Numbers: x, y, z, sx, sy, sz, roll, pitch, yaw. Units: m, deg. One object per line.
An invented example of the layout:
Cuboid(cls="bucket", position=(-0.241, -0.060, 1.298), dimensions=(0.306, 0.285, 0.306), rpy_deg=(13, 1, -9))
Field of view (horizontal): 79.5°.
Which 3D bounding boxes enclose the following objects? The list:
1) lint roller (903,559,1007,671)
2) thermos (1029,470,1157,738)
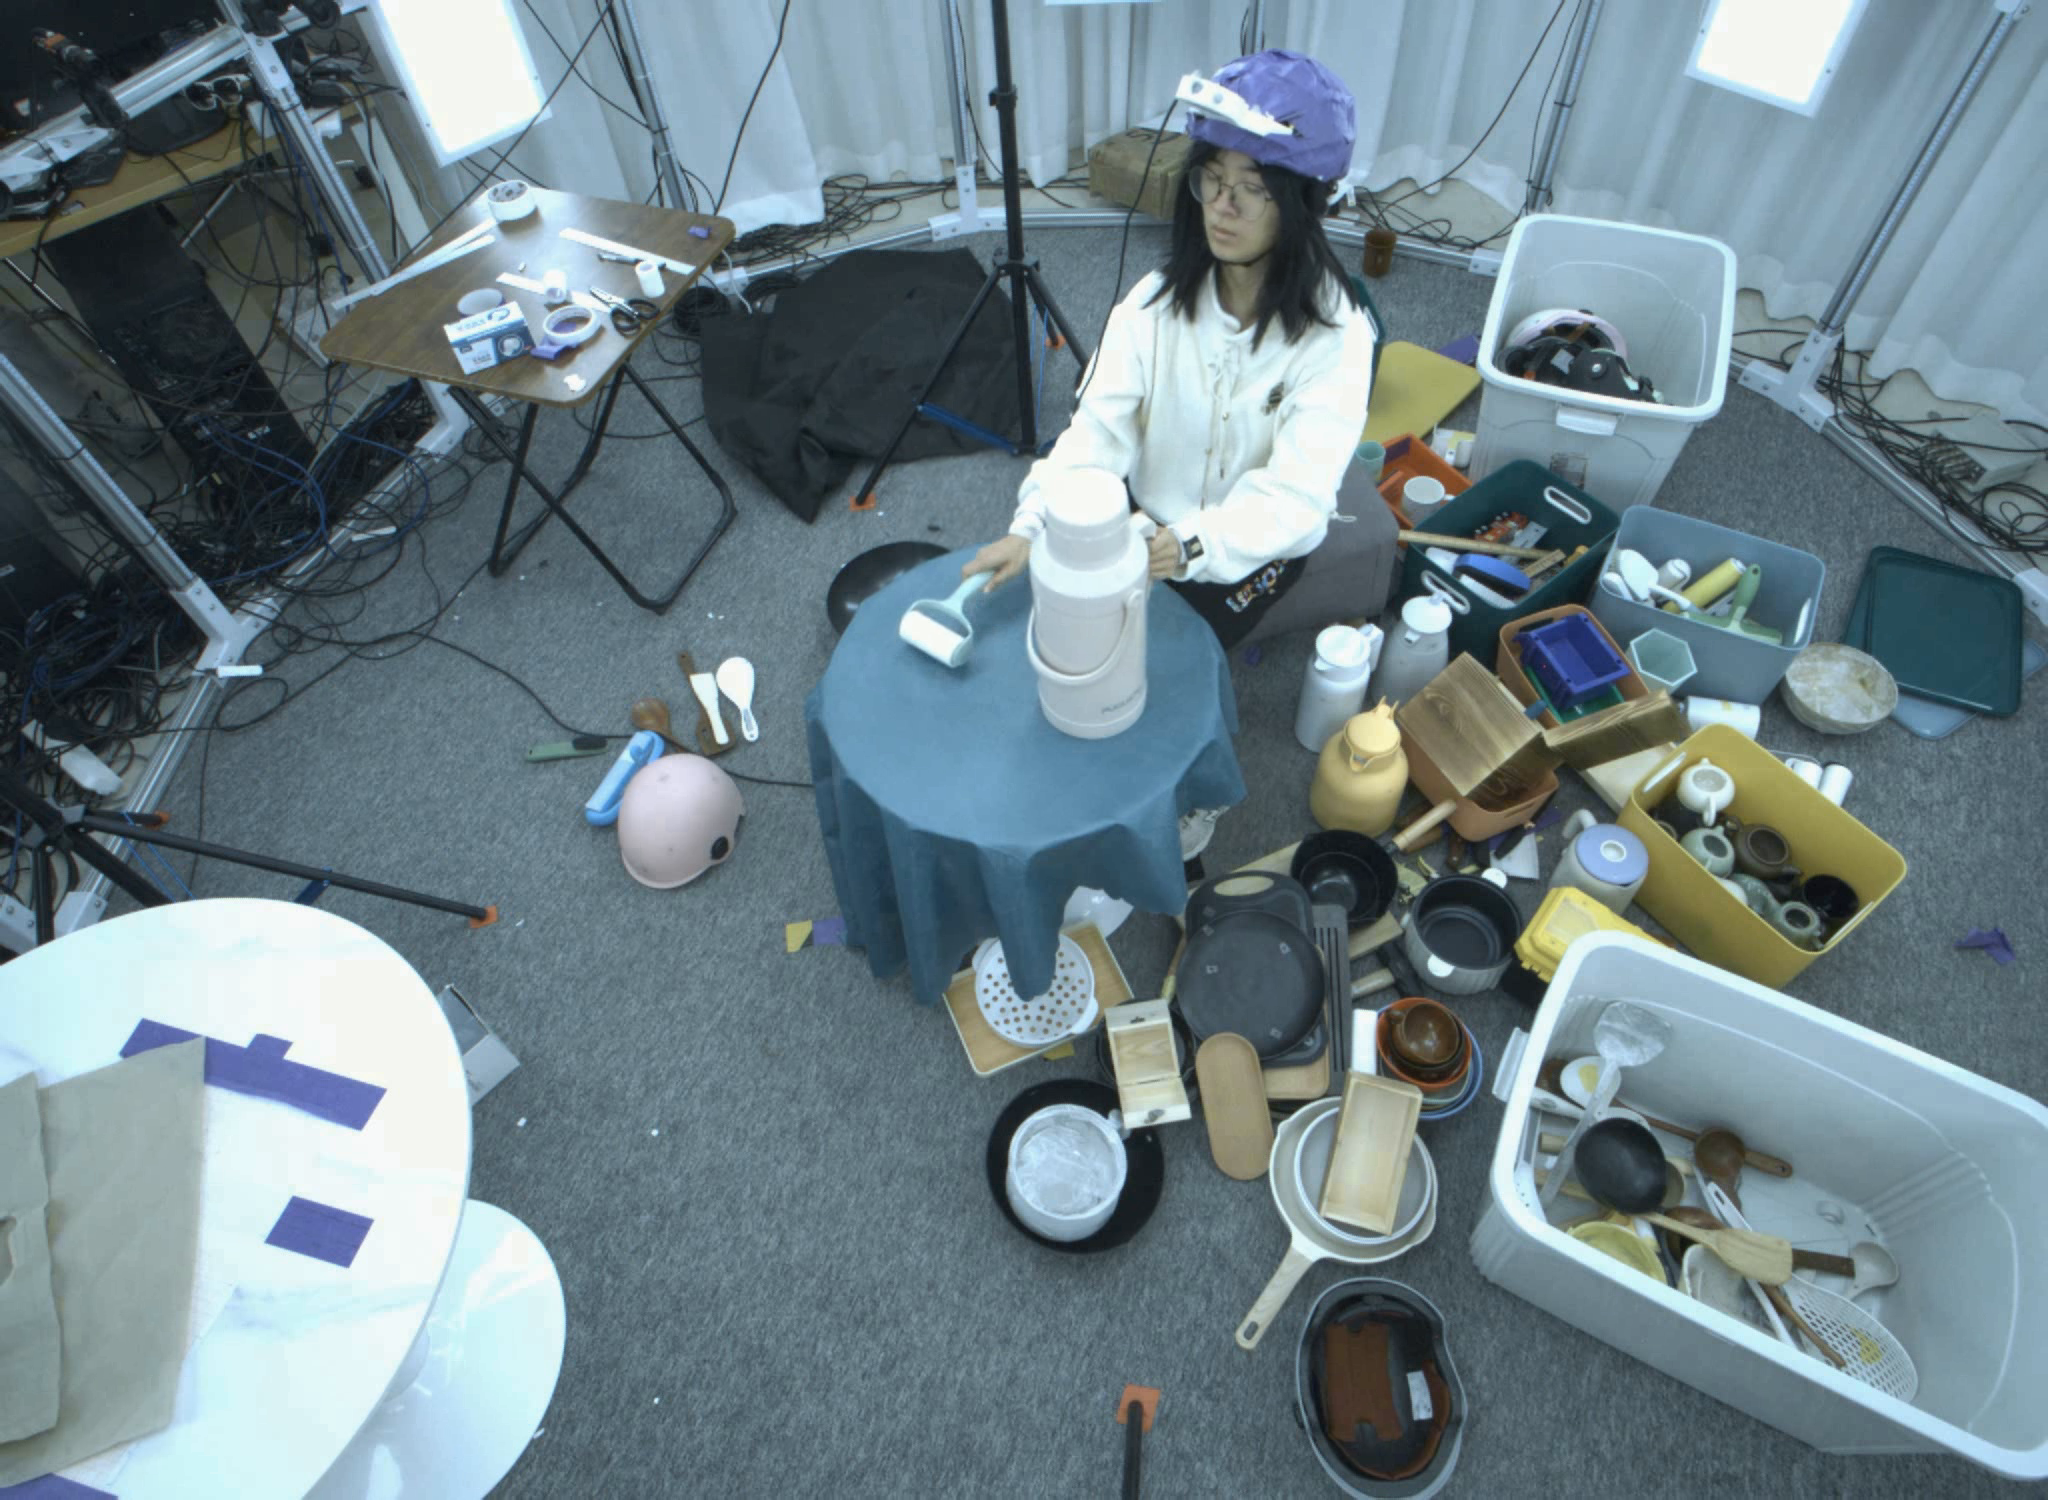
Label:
Cuboid(cls="lint roller", position=(-0.089, -0.221, 1.885), dimensions=(0.115, 0.049, 0.198), rpy_deg=(32, 78, 21))
Cuboid(cls="thermos", position=(0.101, -0.203, 1.684), dimensions=(0.208, 0.411, 0.172), rpy_deg=(-39, 60, -22))
